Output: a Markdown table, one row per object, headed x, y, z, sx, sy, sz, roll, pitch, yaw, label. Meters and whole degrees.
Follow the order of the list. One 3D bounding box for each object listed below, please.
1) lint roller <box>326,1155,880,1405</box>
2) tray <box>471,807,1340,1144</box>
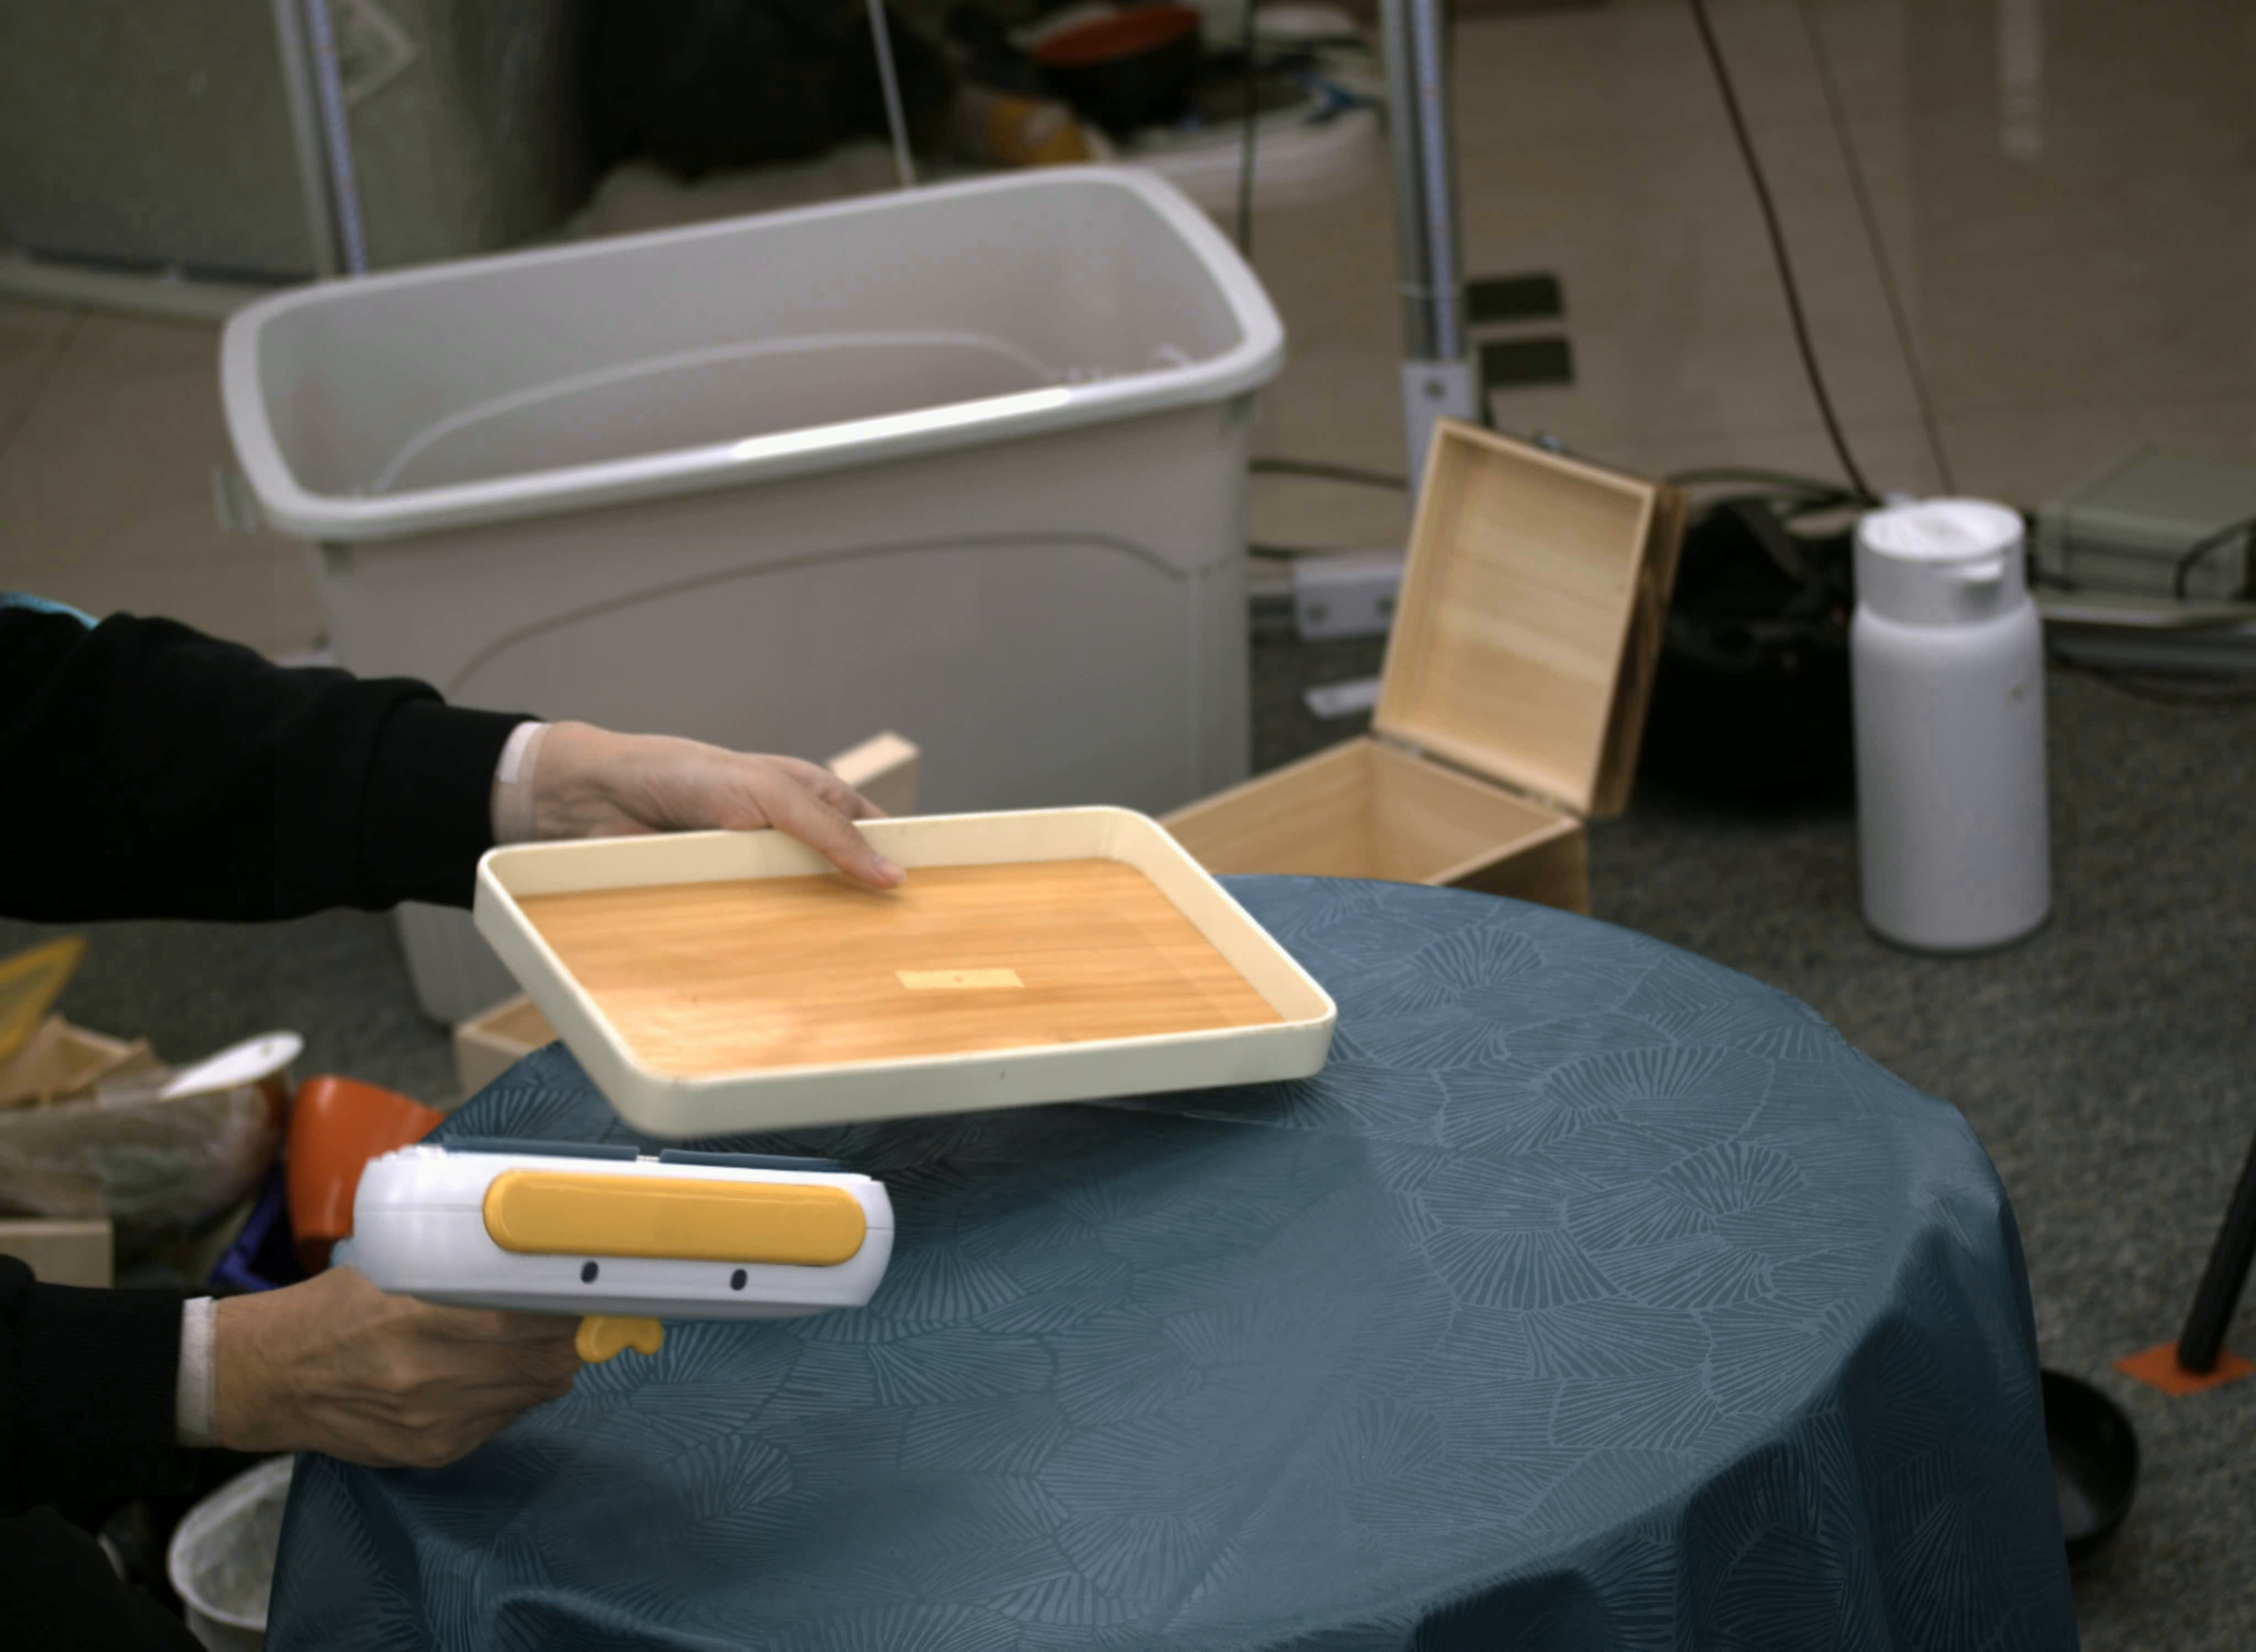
| x | y | z | sx | sy | sz | roll | pitch | yaw | label |
| --- | --- | --- | --- | --- | --- | --- | --- | --- | --- |
| -0.202 | 0.158 | 1.956 | 0.192 | 0.074 | 0.193 | -2 | -12 | -31 | lint roller |
| -0.087 | 0.055 | 2.197 | 0.299 | 0.028 | 0.189 | -4 | 29 | -27 | tray |
